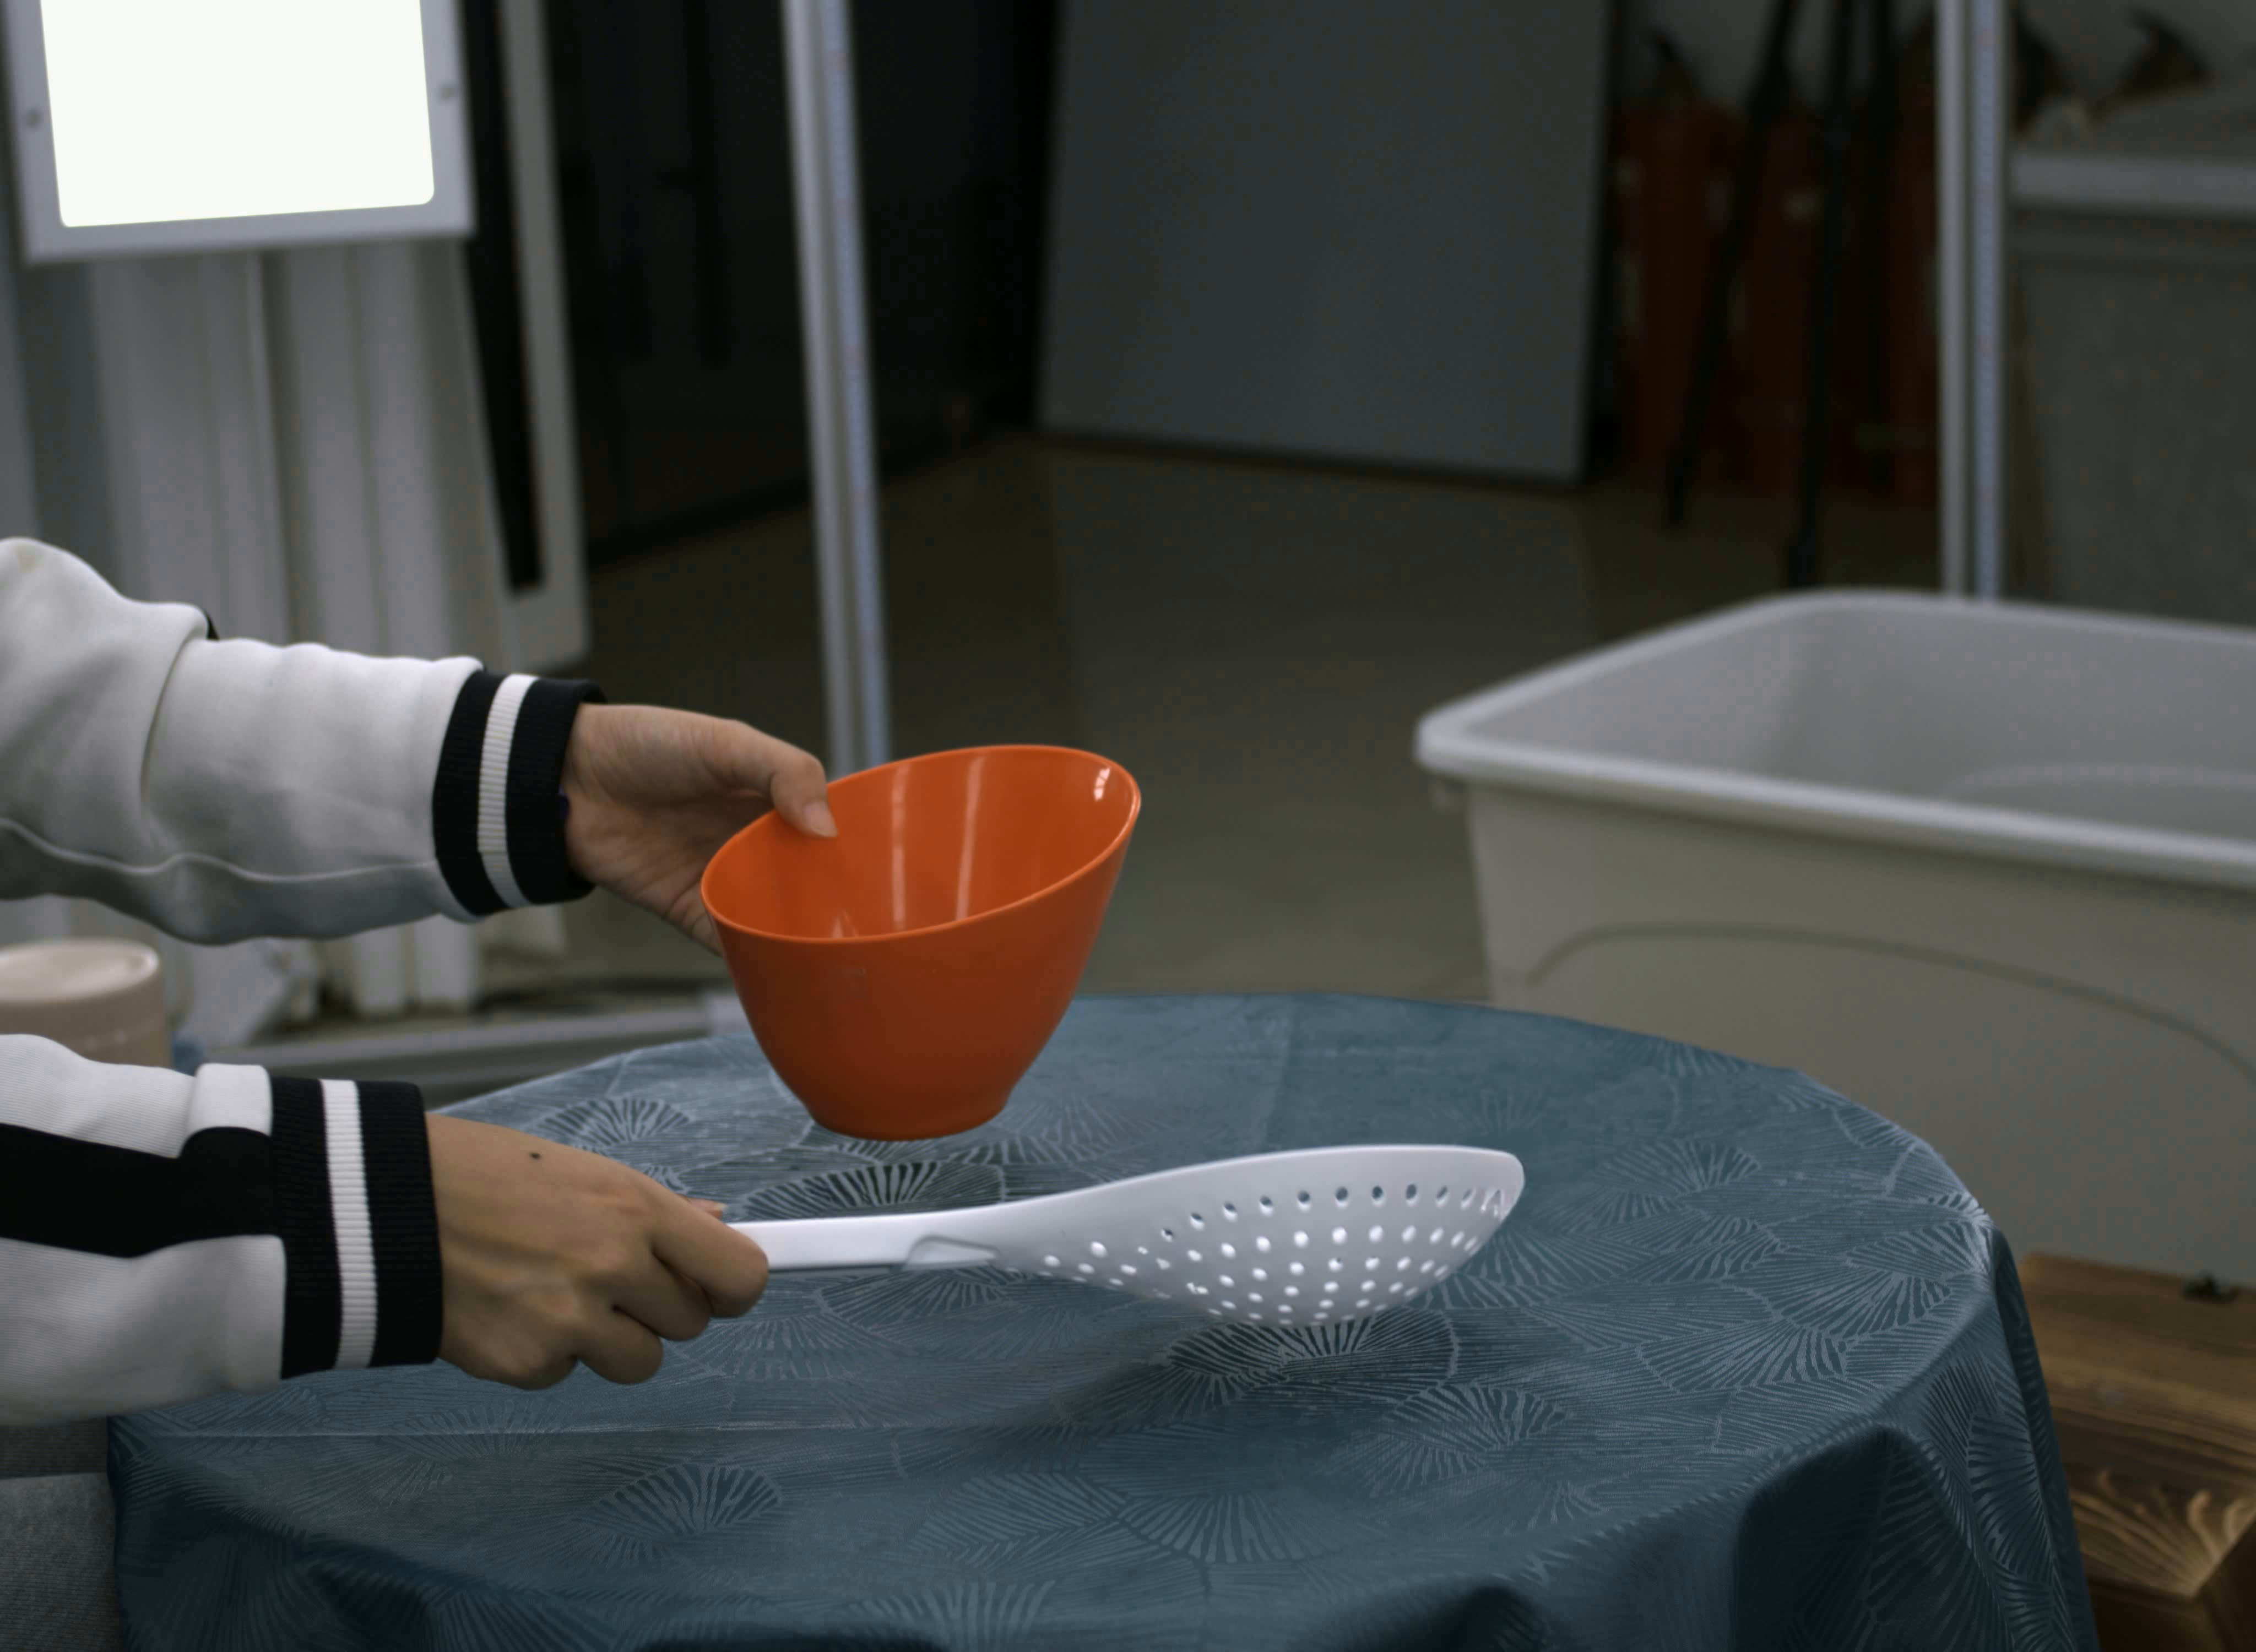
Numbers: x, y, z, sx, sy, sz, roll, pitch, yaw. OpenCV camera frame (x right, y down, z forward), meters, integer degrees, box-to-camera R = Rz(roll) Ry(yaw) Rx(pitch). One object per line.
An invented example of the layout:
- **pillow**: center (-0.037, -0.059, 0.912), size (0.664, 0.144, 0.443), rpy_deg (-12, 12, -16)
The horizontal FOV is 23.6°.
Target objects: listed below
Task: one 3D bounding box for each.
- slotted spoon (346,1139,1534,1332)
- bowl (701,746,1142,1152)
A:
- **slotted spoon**: center (-0.052, 0.120, 1.568), size (0.344, 0.046, 0.136), rpy_deg (2, -16, -6)
- **bowl**: center (-0.065, 0.044, 1.778), size (0.146, 0.105, 0.148), rpy_deg (-4, 20, 0)
